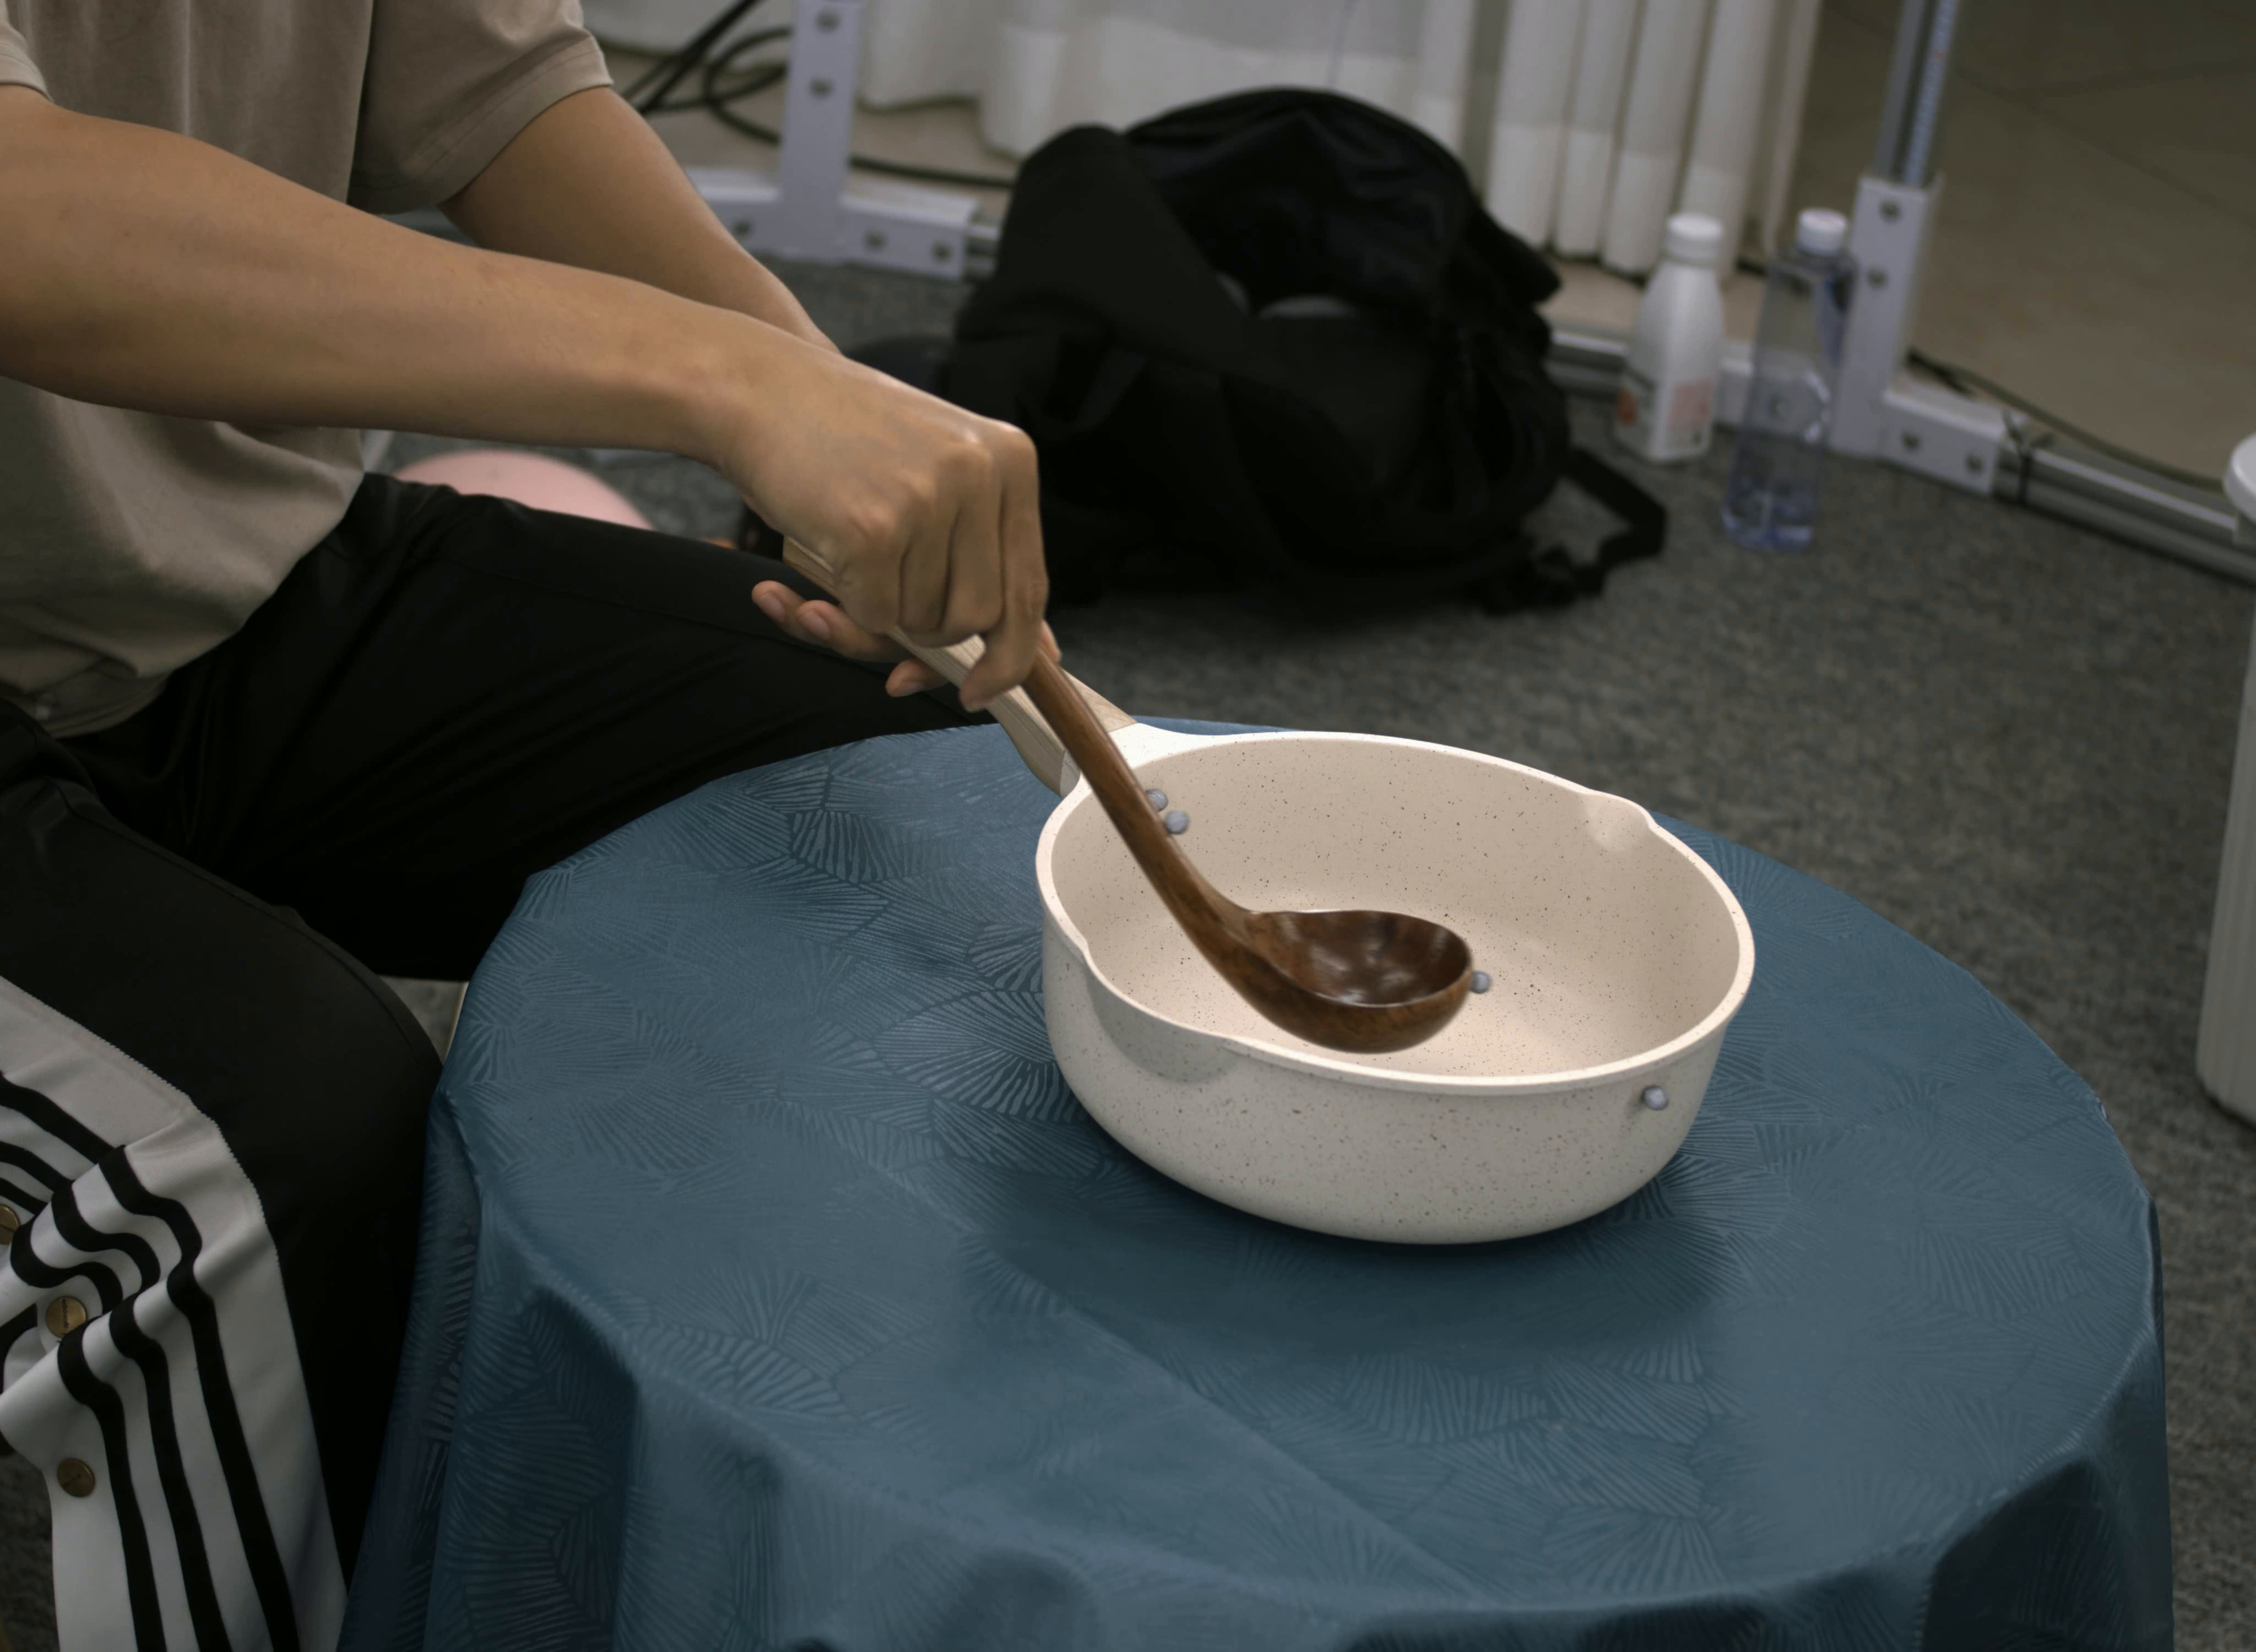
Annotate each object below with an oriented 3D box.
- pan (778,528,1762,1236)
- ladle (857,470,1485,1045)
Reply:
[{"bbox_3d":[0.026,0.015,1.914,0.438,0.101,0.262,29,36,36],"label":"pan"},{"bbox_3d":[0.020,-0.028,1.758,0.076,0.272,0.082,-36,21,3],"label":"ladle"}]
